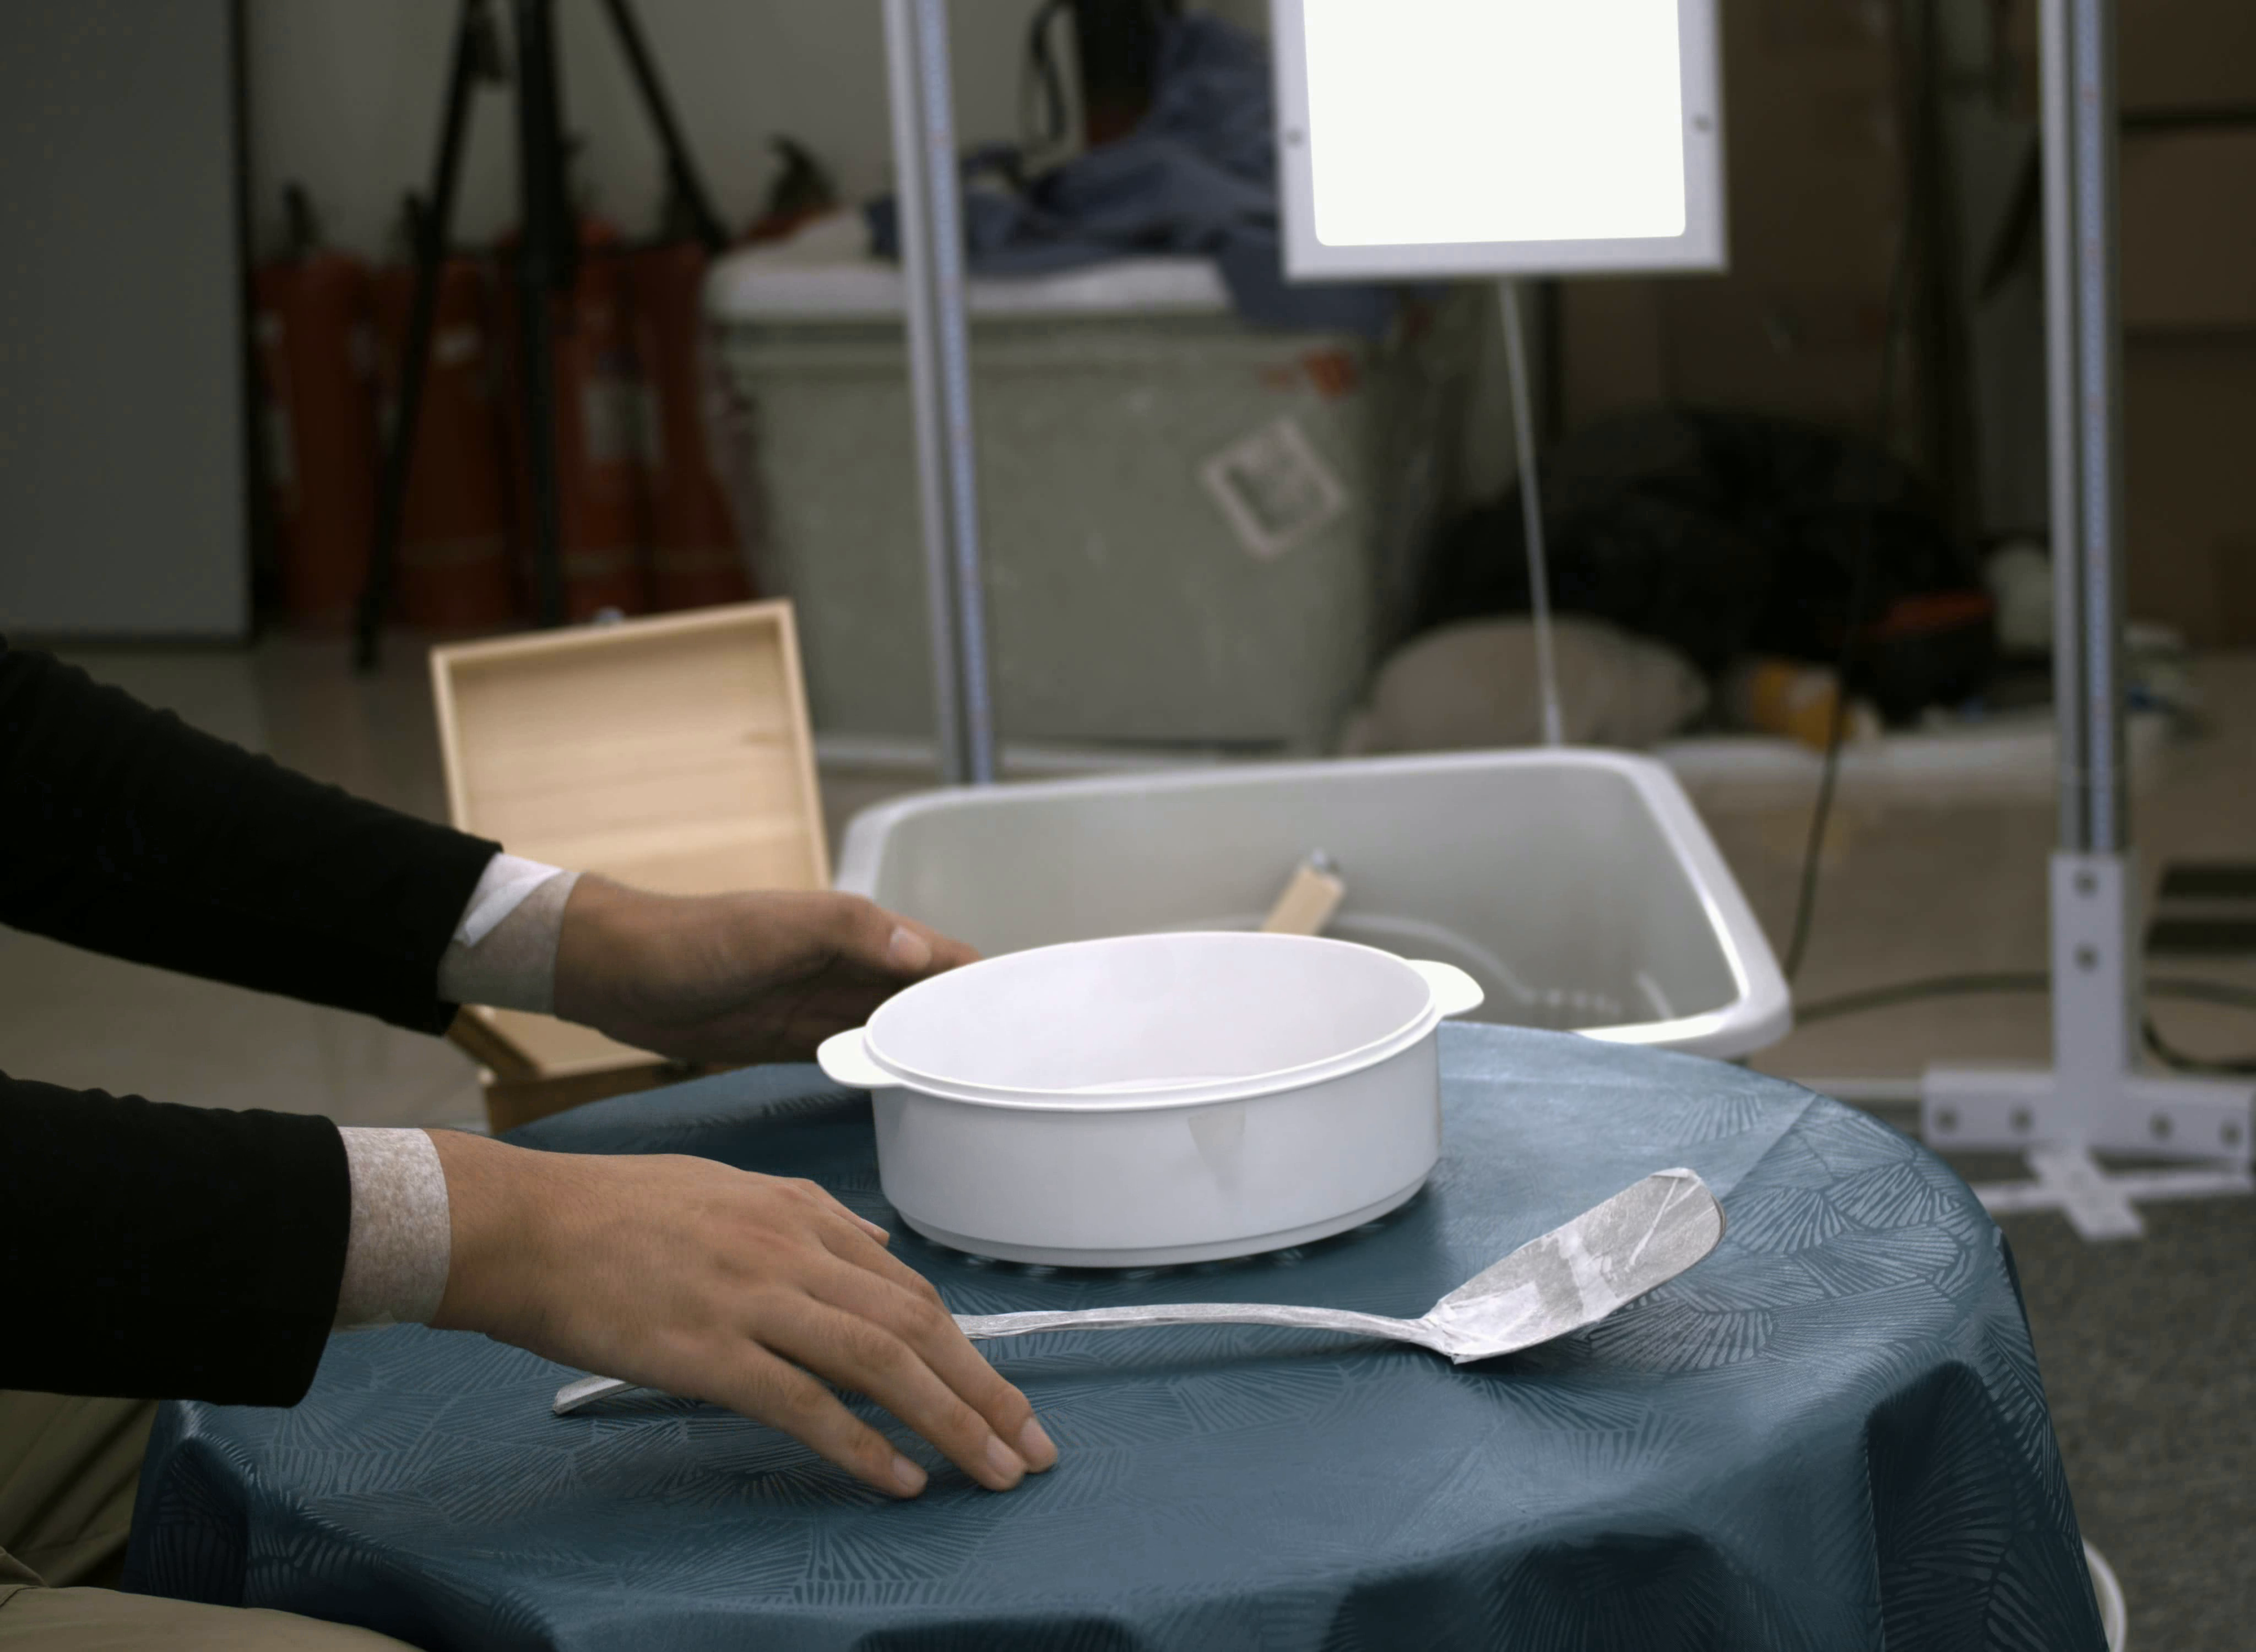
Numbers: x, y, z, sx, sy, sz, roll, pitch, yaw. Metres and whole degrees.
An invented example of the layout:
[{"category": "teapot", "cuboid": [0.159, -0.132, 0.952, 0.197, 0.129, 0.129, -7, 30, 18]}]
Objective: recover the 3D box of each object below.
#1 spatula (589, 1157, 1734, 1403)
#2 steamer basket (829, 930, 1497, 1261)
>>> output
[{"category": "spatula", "cuboid": [0.009, 0.149, 1.723, 0.365, 0.045, 0.098, -4, 16, 3]}, {"category": "steamer basket", "cuboid": [0.015, 0.093, 1.885, 0.228, 0.069, 0.203, -8, 13, -7]}]
